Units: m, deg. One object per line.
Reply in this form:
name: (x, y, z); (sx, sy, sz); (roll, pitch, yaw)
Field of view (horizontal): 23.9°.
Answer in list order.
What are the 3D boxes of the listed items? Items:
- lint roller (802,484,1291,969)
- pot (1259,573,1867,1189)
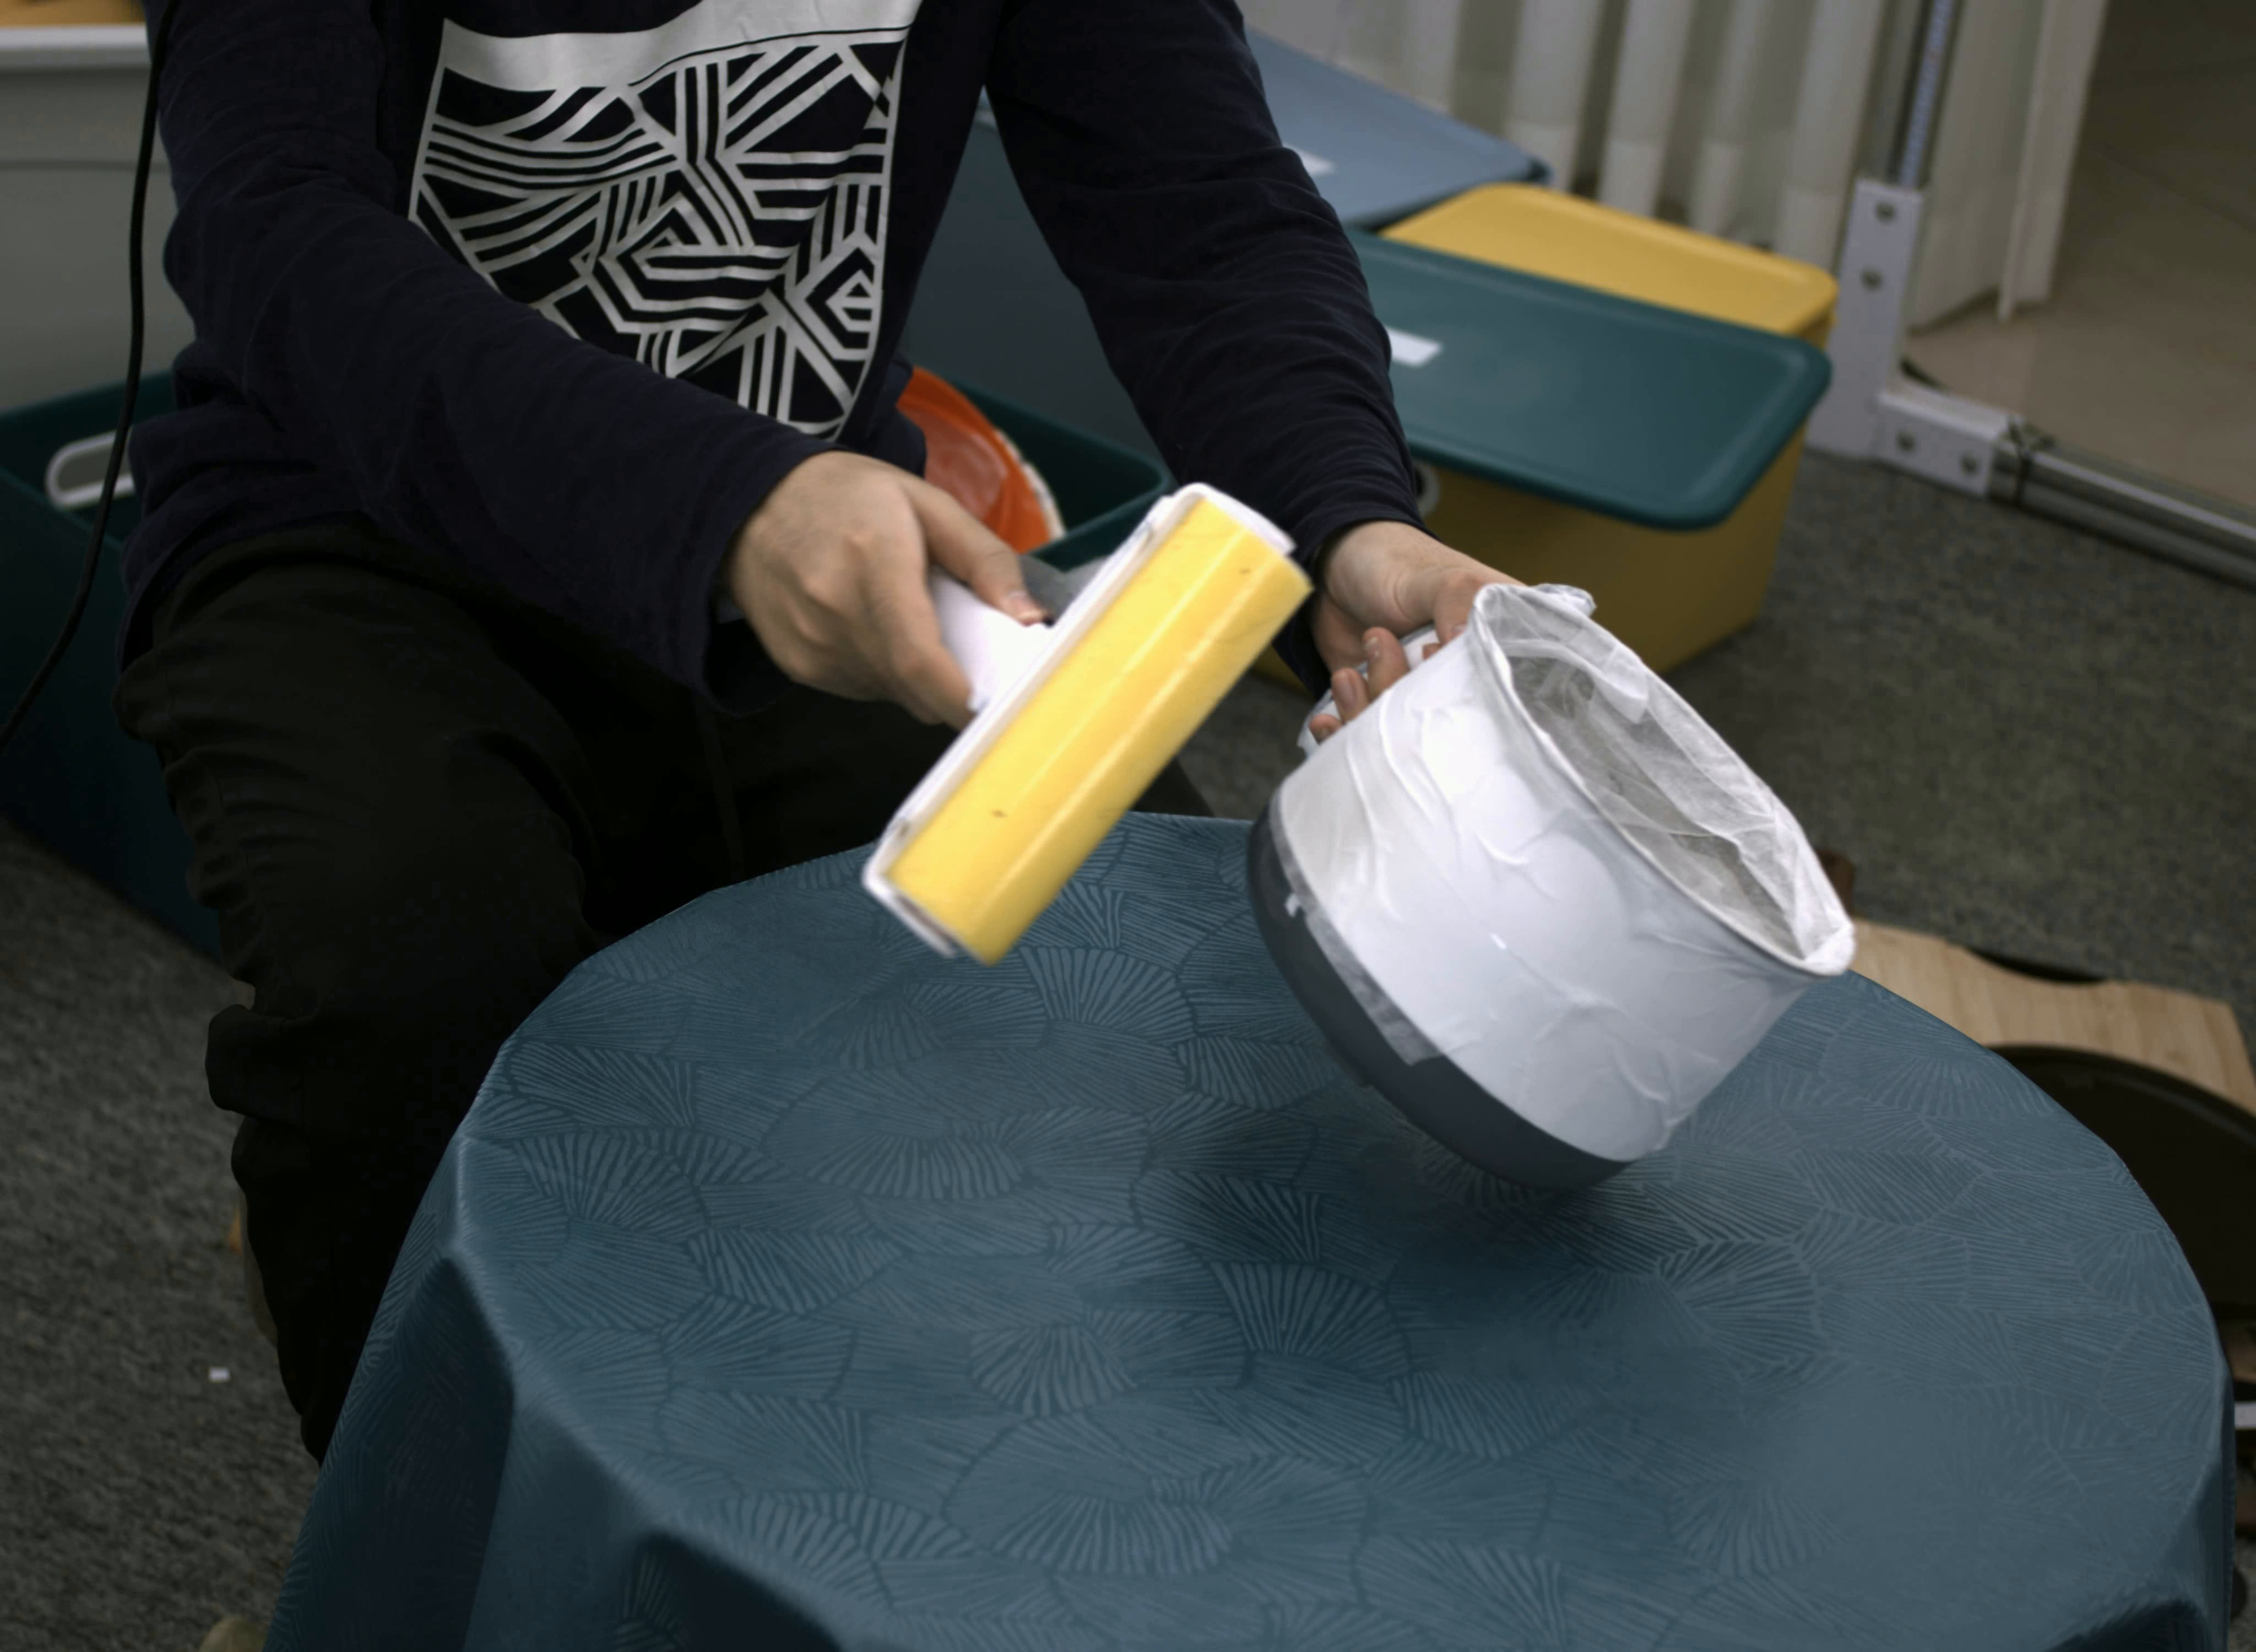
lint roller: (-0.059, -0.060, 1.756); (0.194, 0.174, 0.051); (35, -6, 43)
pot: (0.135, 0.005, 1.818); (0.177, 0.136, 0.236); (32, 25, -37)
